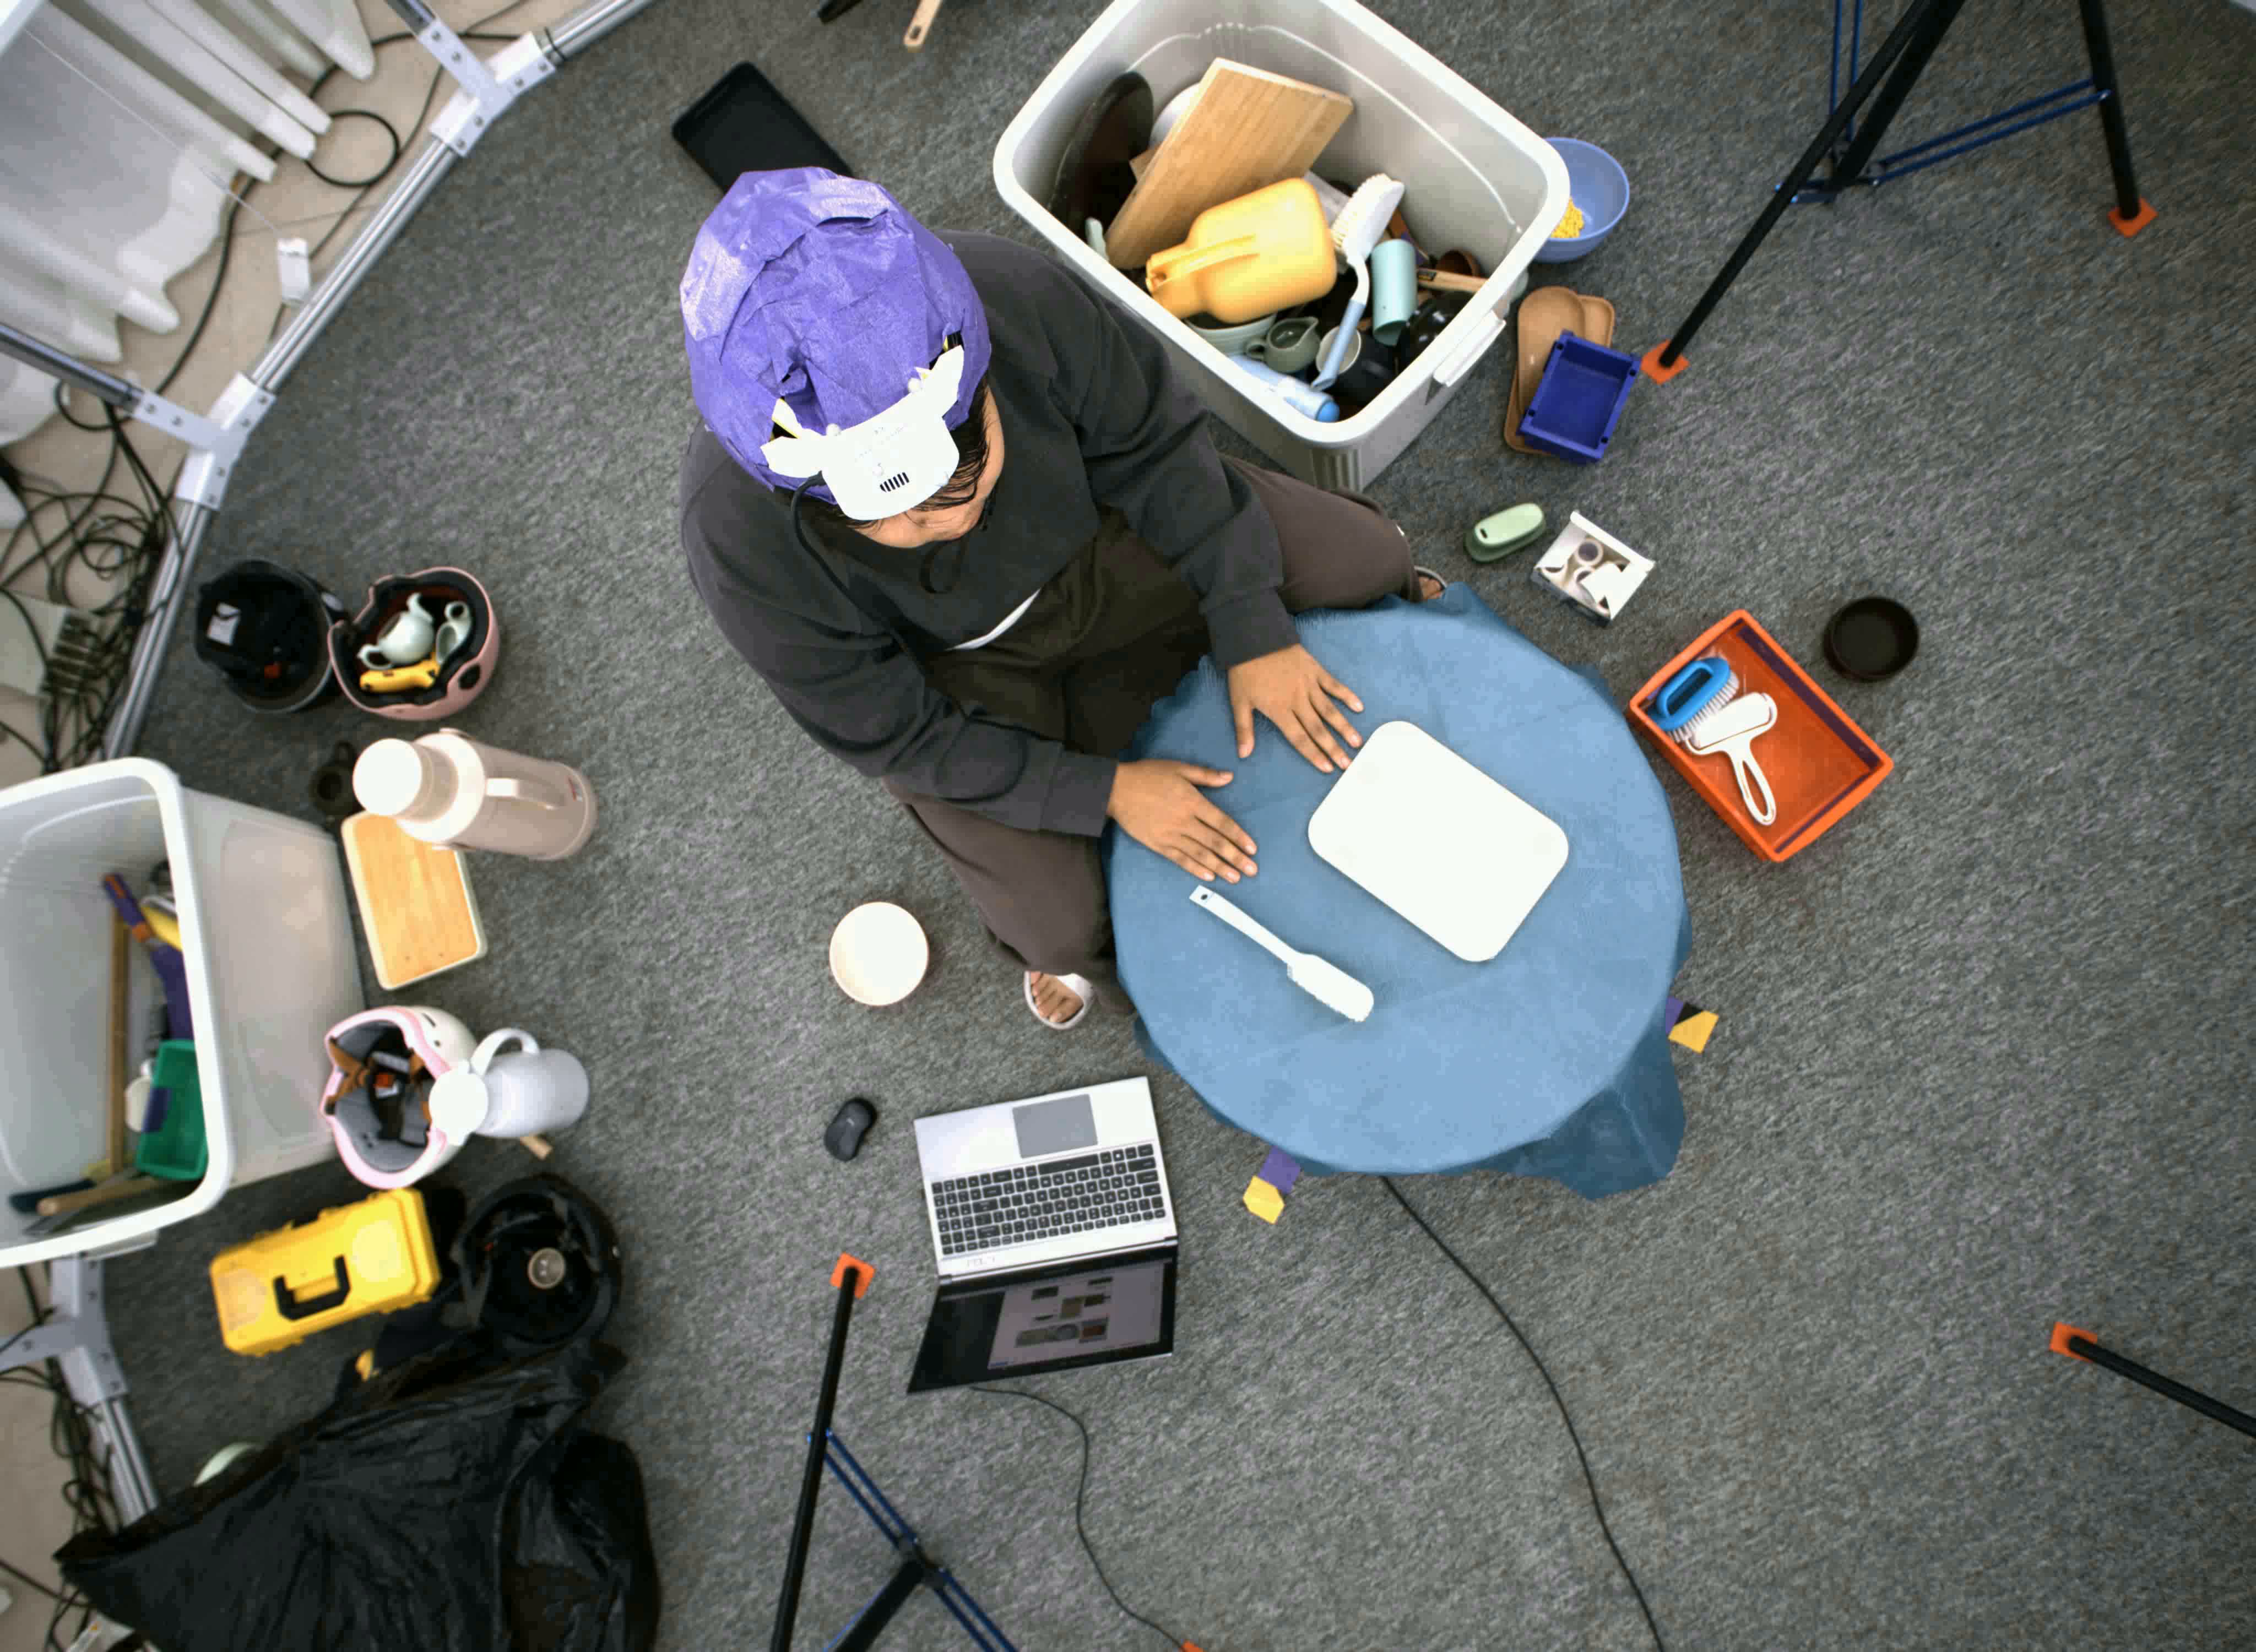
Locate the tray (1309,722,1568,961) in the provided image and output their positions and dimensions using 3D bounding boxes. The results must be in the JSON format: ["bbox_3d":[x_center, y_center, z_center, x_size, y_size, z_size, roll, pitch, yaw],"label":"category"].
[{"bbox_3d":[0.324,0.013,1.445,0.239,0.017,0.171,37,93,11],"label":"tray"}]

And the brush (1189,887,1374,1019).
[{"bbox_3d":[0.160,0.132,1.462,0.228,0.050,0.037,32,78,19],"label":"brush"}]
